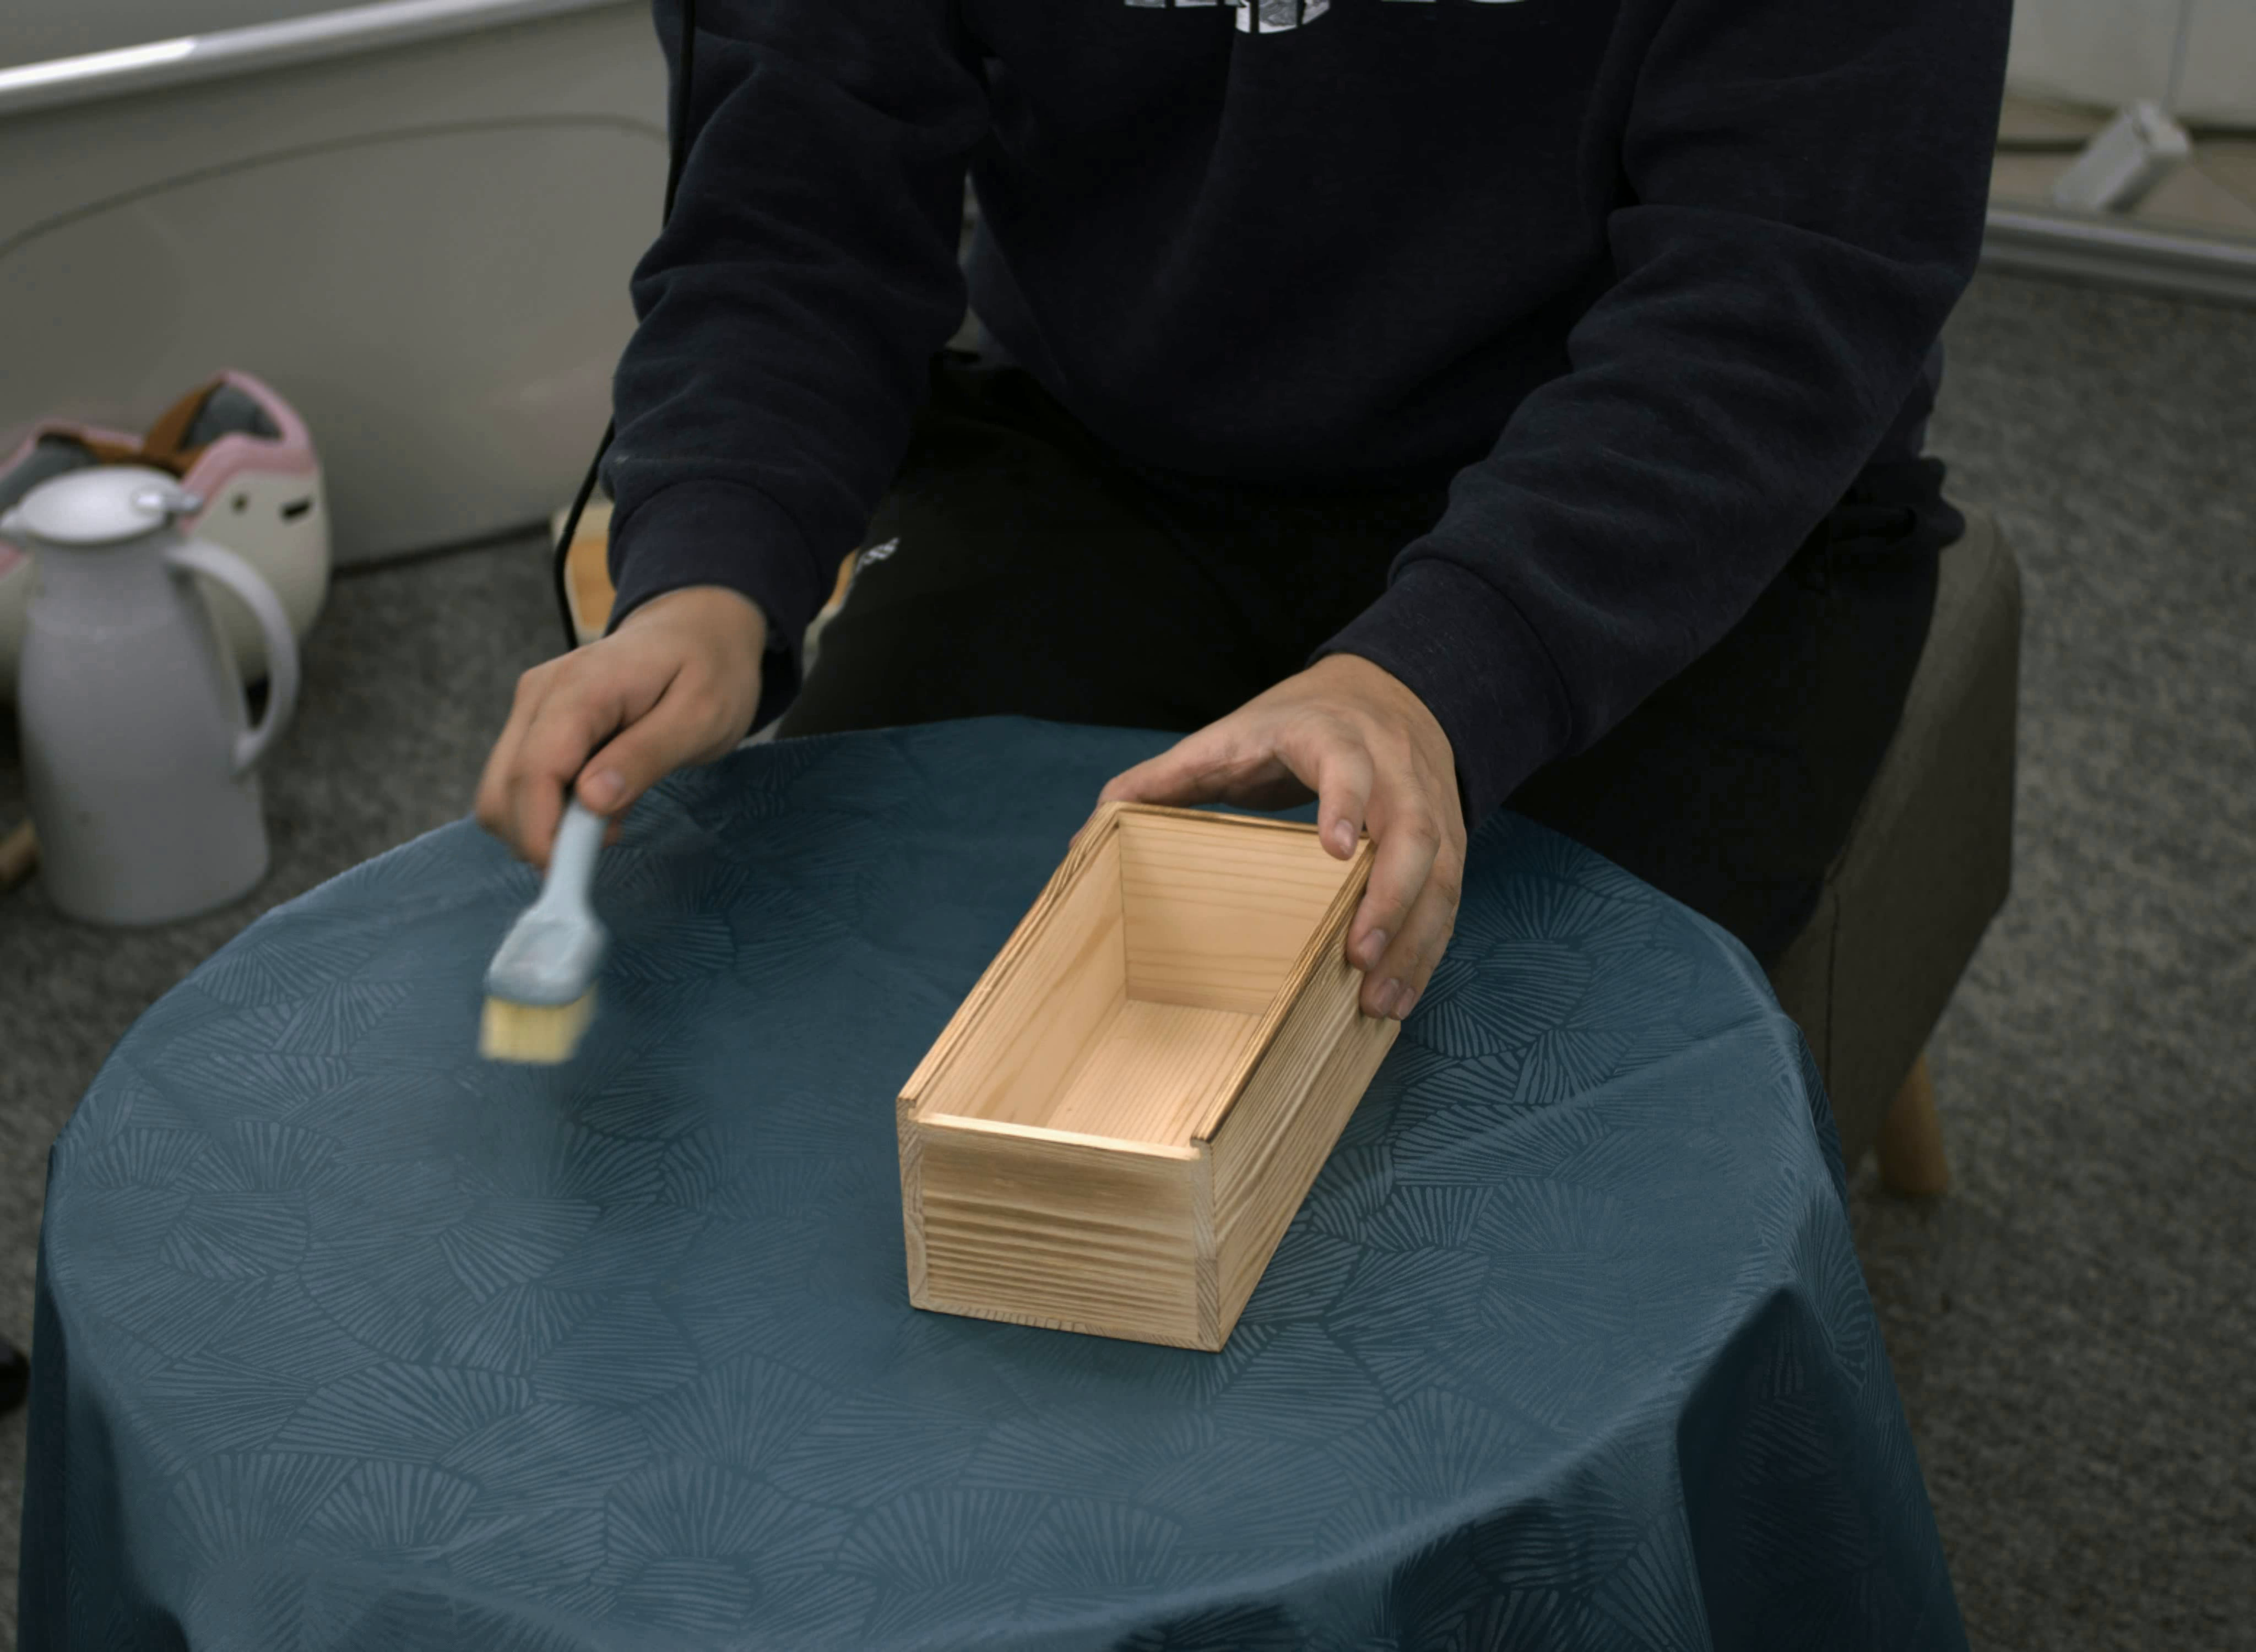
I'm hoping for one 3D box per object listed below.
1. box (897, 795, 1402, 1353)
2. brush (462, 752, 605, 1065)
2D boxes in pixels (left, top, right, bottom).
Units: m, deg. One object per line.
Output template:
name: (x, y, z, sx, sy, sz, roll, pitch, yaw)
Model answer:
box: (0.011, 0.078, 1.861, 0.107, 0.079, 0.215, 6, 29, 17)
brush: (-0.205, 0.029, 1.970, 0.037, 0.049, 0.232, 4, 23, -2)
